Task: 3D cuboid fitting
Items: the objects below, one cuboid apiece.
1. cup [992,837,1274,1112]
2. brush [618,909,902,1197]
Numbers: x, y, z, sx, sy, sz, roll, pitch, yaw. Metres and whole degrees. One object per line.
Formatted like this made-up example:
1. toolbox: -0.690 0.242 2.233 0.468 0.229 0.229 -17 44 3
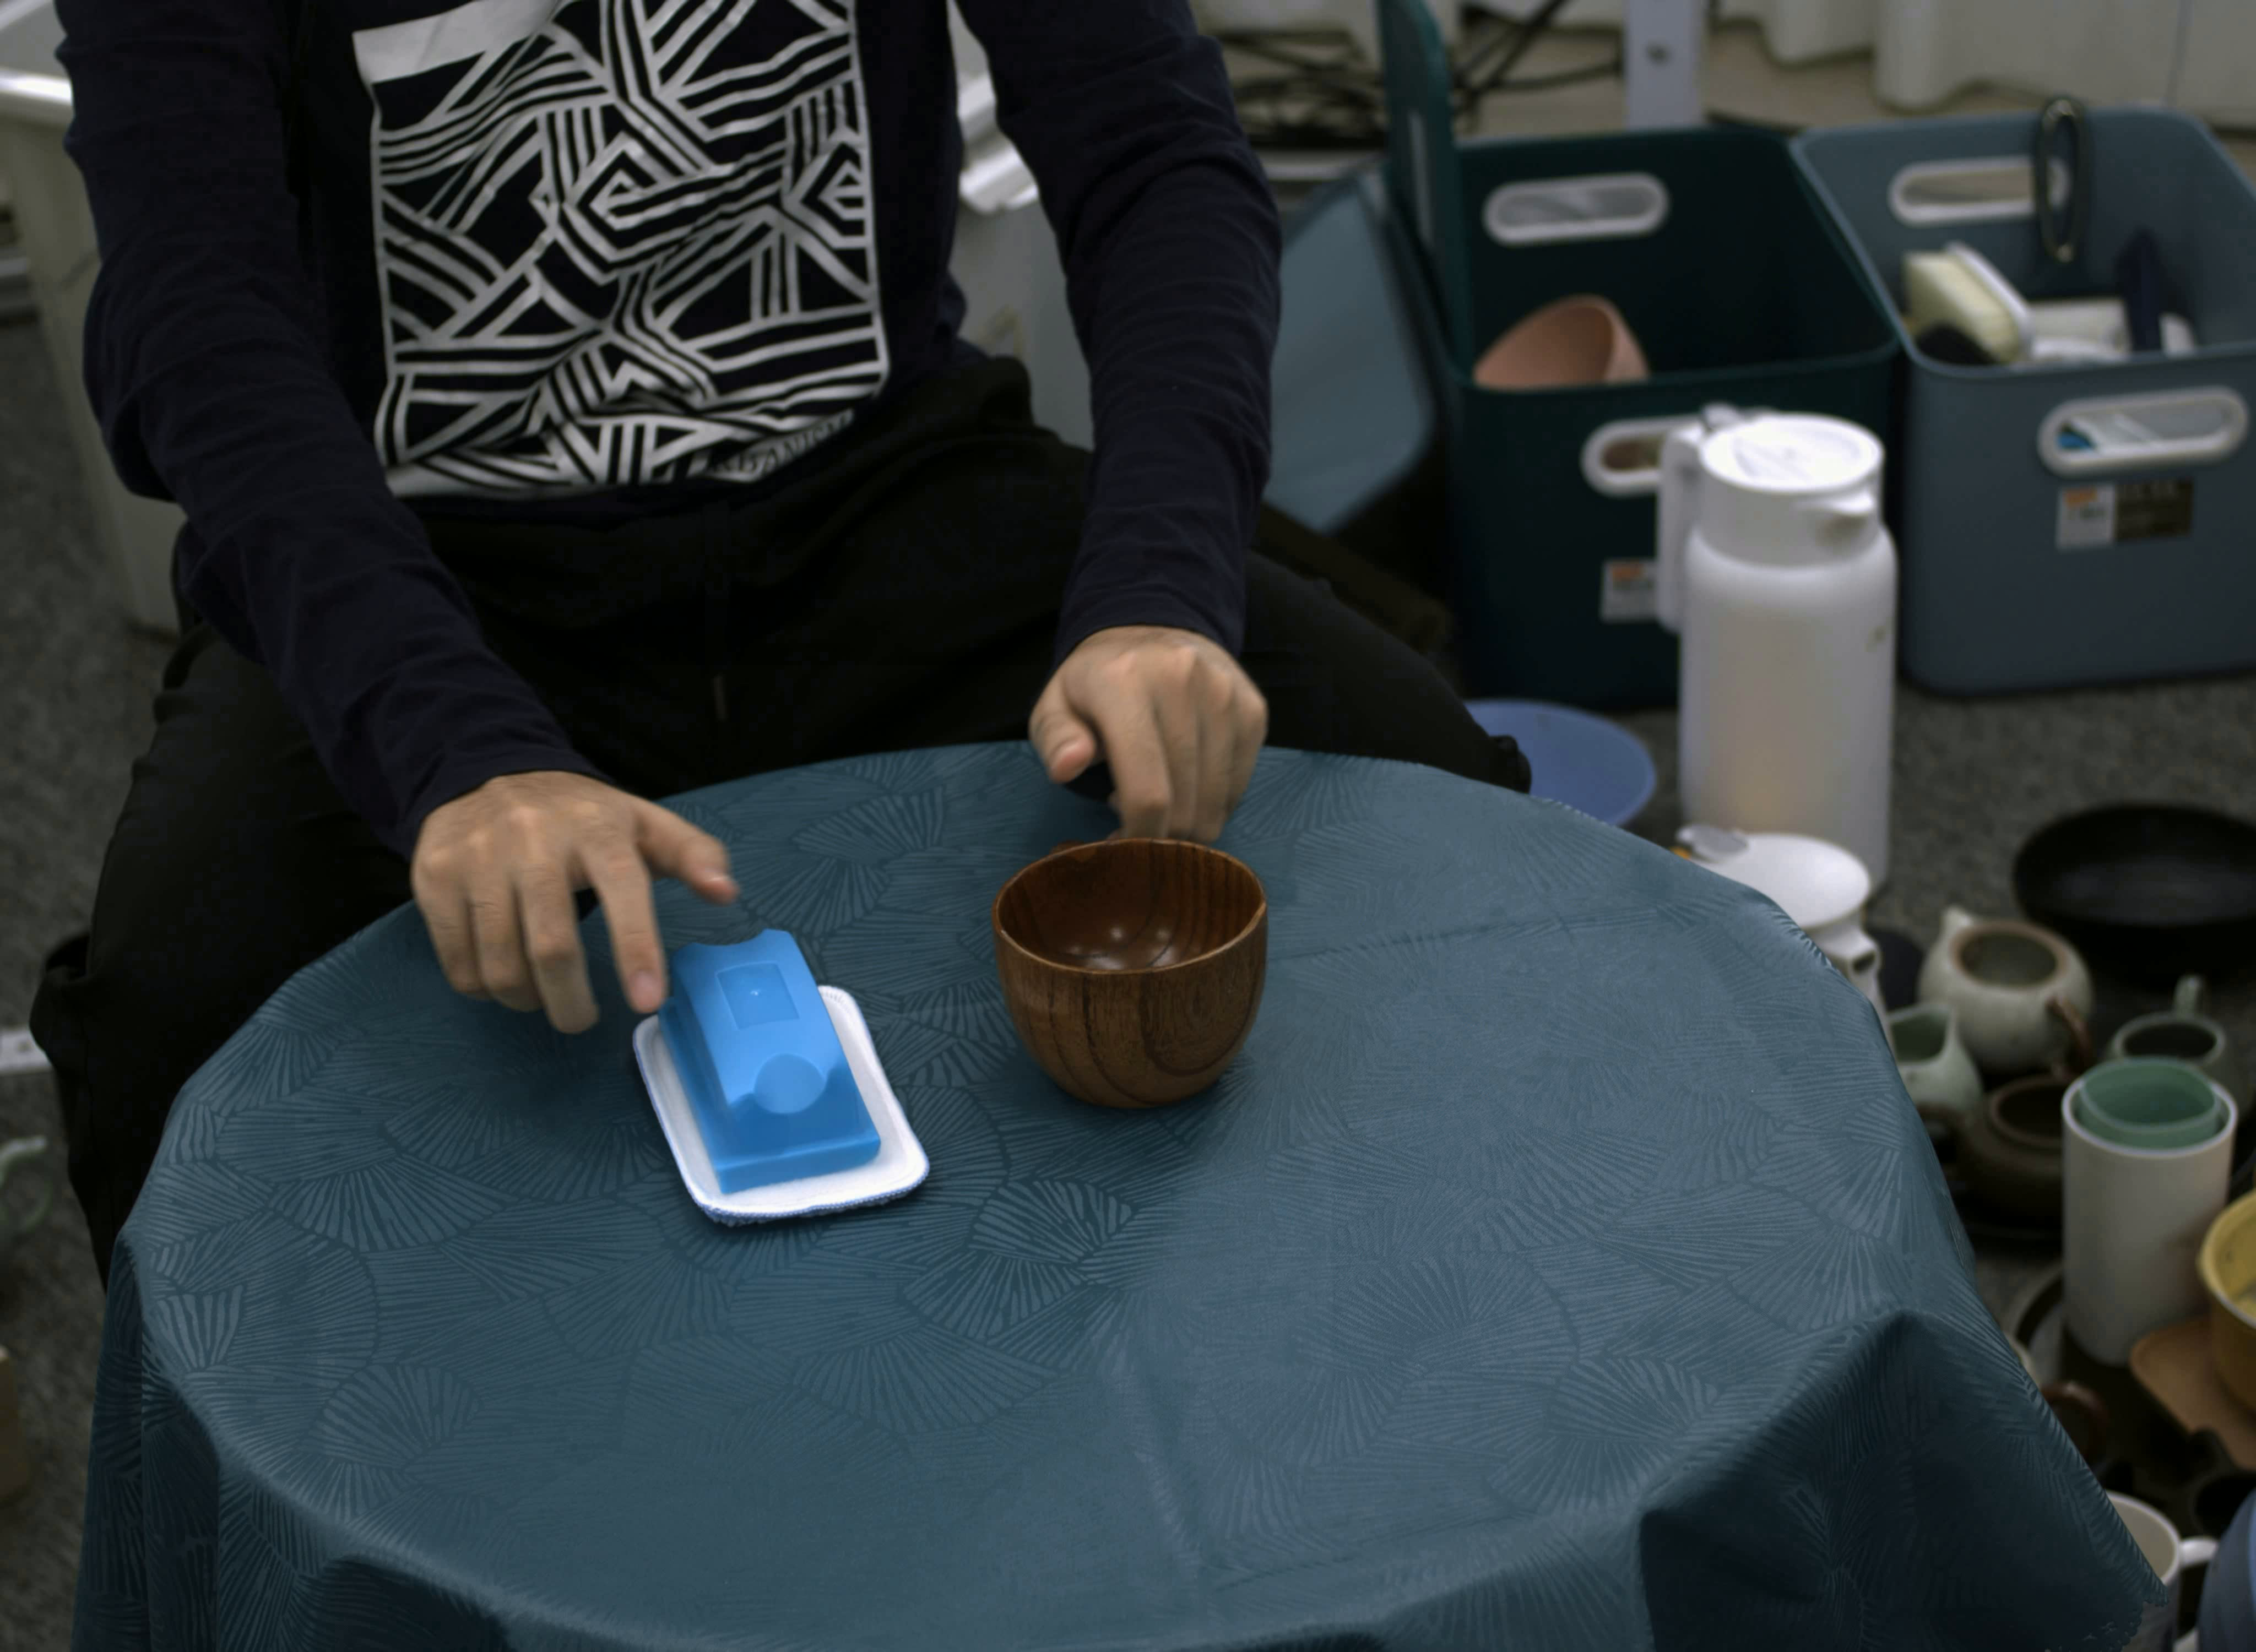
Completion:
1. cup: 0.000 0.049 1.929 0.096 0.067 0.120 -17 28 -18
2. brush: -0.124 0.072 1.901 0.084 0.055 0.146 -5 30 -12
